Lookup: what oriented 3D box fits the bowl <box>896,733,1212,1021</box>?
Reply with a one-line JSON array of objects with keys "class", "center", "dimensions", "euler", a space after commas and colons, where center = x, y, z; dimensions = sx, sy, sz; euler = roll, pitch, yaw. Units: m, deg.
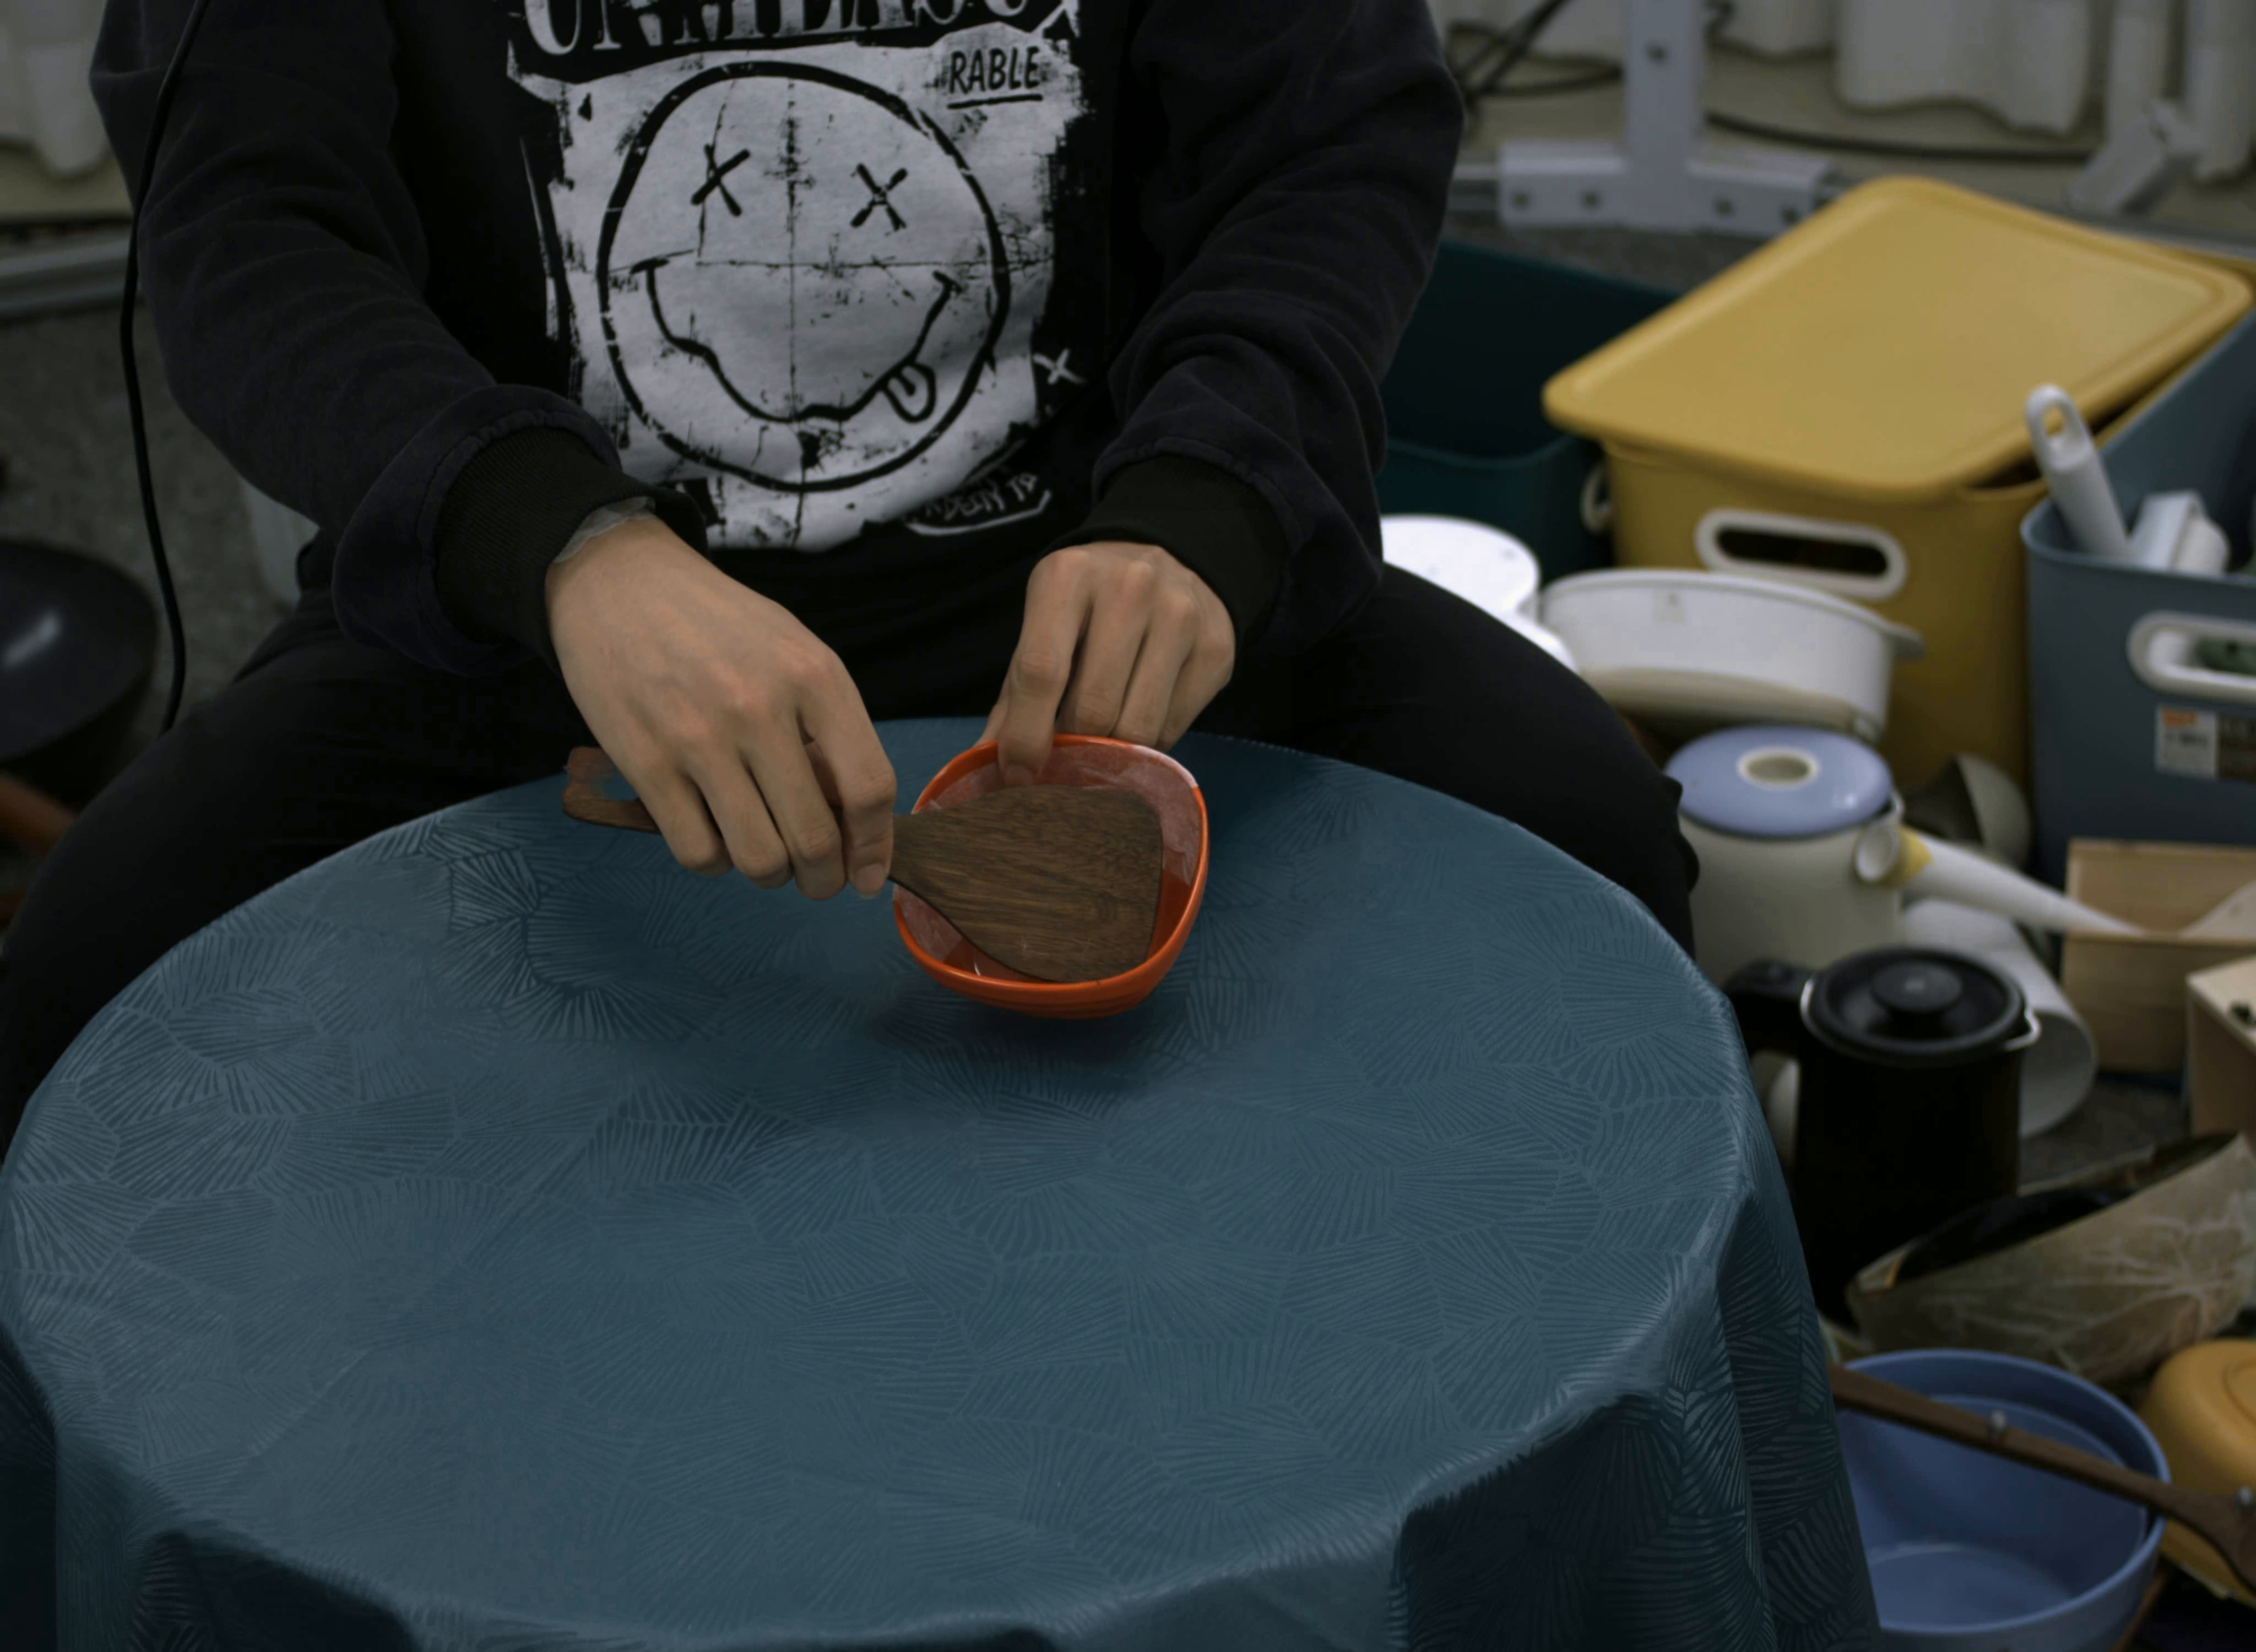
[{"class": "bowl", "center": [-0.023, 0.026, 1.969], "dimensions": [0.118, 0.050, 0.121], "euler": [-3, 53, 5]}]

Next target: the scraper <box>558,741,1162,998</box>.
[{"class": "scraper", "center": [-0.092, 0.005, 1.933], "dimensions": [0.210, 0.010, 0.077], "euler": [13, 67, -8]}]
